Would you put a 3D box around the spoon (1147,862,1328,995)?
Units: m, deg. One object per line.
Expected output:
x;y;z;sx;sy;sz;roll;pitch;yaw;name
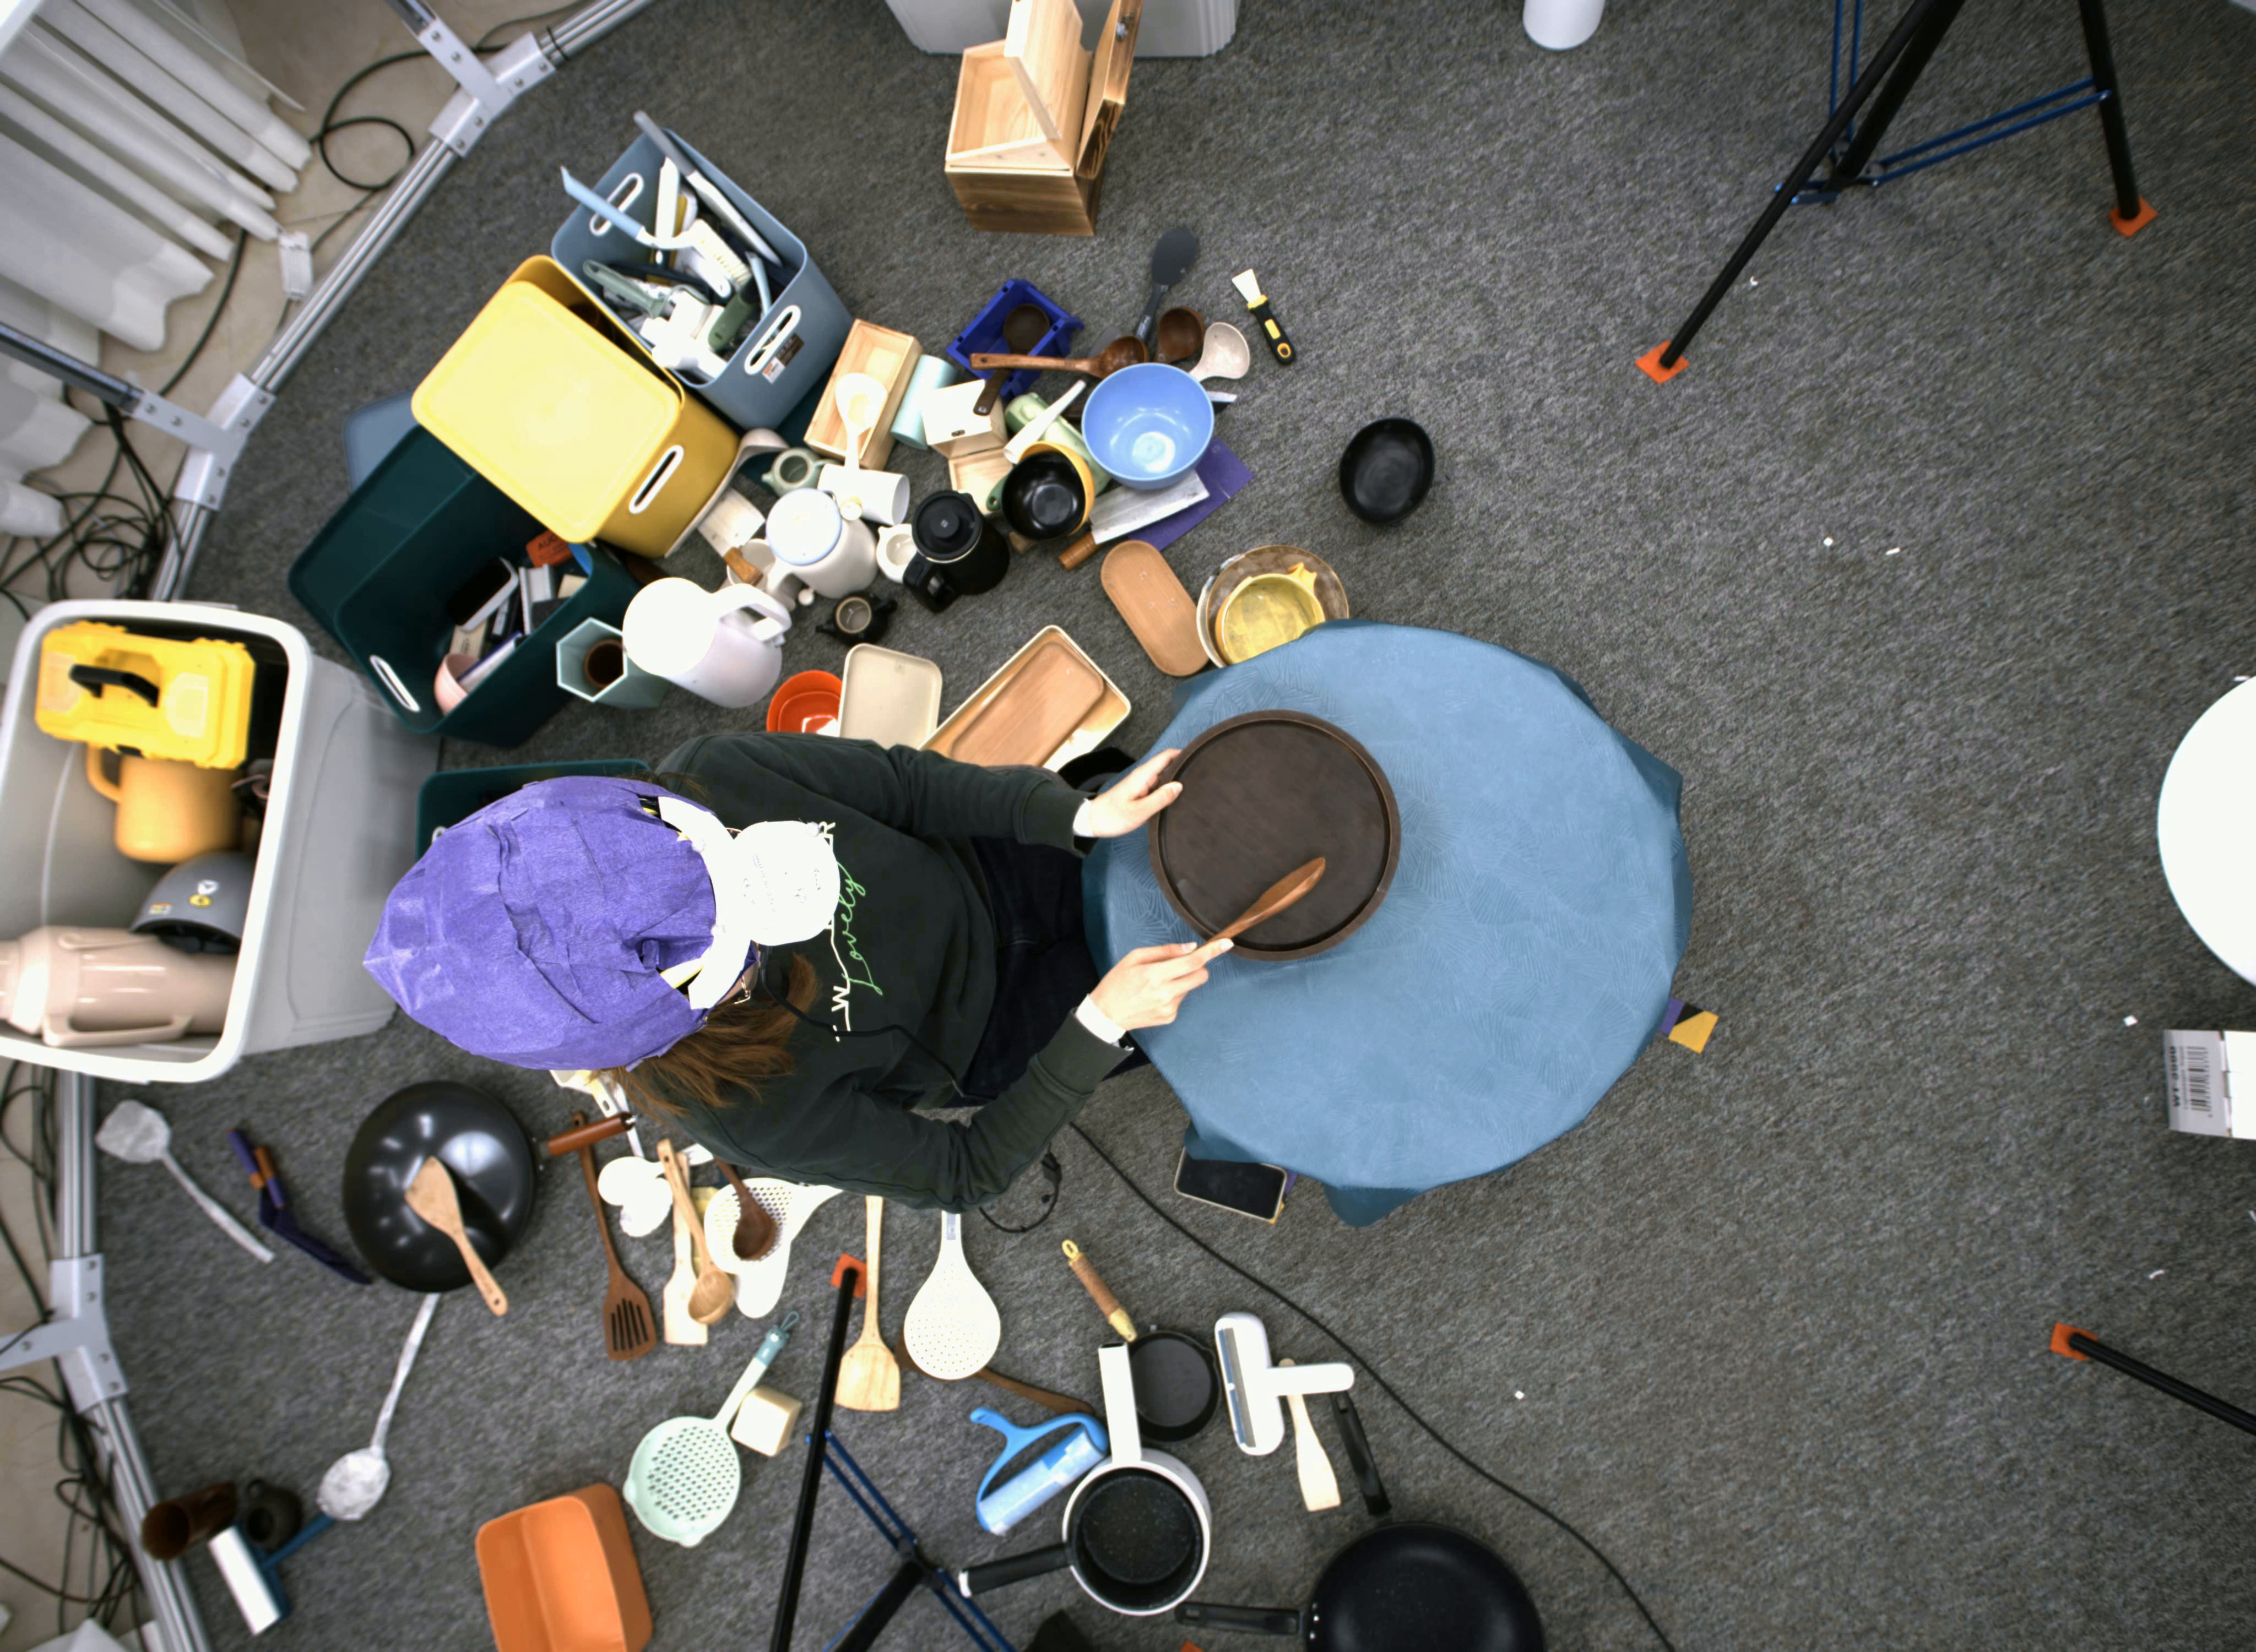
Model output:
0.109;0.101;1.365;0.217;0.075;0.017;-35;97;5;spoon

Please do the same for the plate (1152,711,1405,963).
0.150;0.010;1.393;0.255;0.029;0.255;0;92;8;plate
